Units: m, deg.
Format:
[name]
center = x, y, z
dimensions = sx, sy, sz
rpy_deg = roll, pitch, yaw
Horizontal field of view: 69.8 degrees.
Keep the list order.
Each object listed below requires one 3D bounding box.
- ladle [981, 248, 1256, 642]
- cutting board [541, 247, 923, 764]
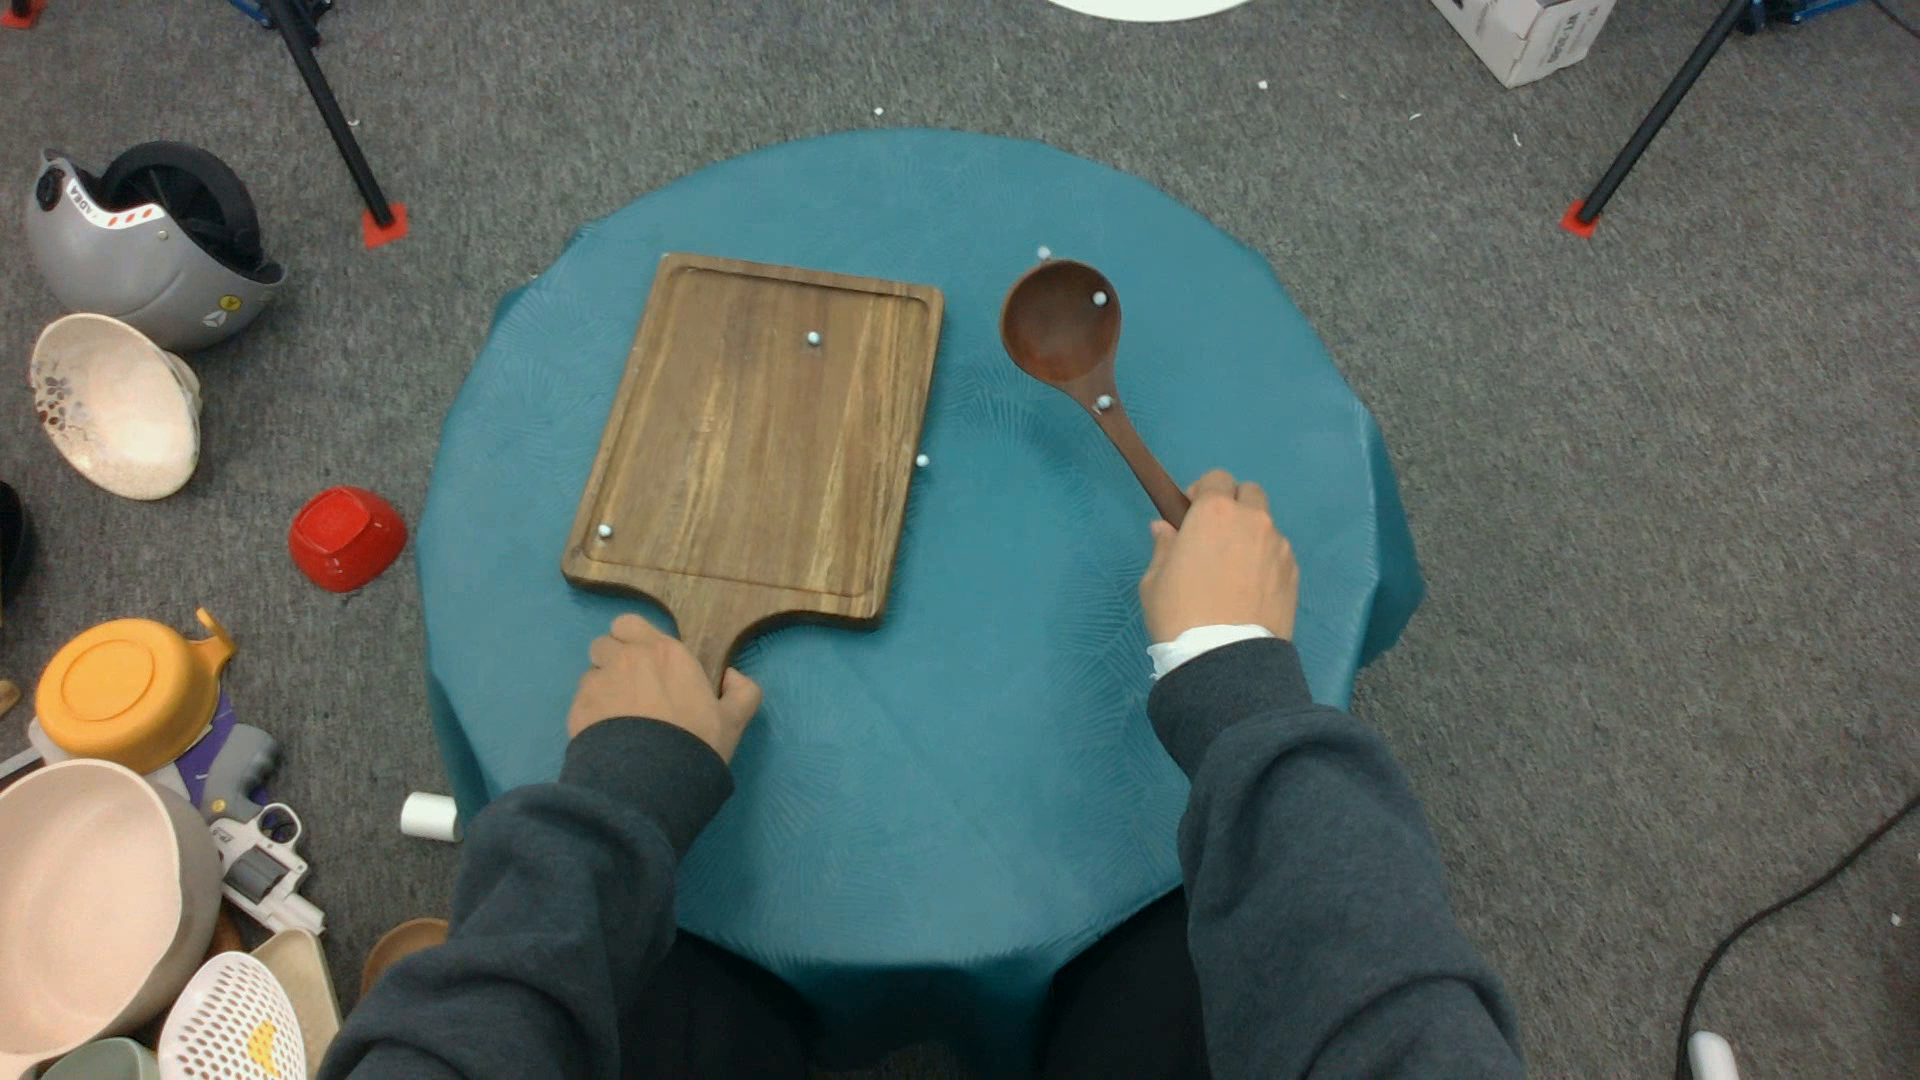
[ladle]
center = 0.096, -0.057, 0.799
dimensions = 0.076, 0.065, 0.260
rpy_deg = -31, 72, 3
[cutting board]
center = -0.143, -0.032, 0.848
dimensions = 0.201, 0.023, 0.353
rpy_deg = 7, 62, 3
